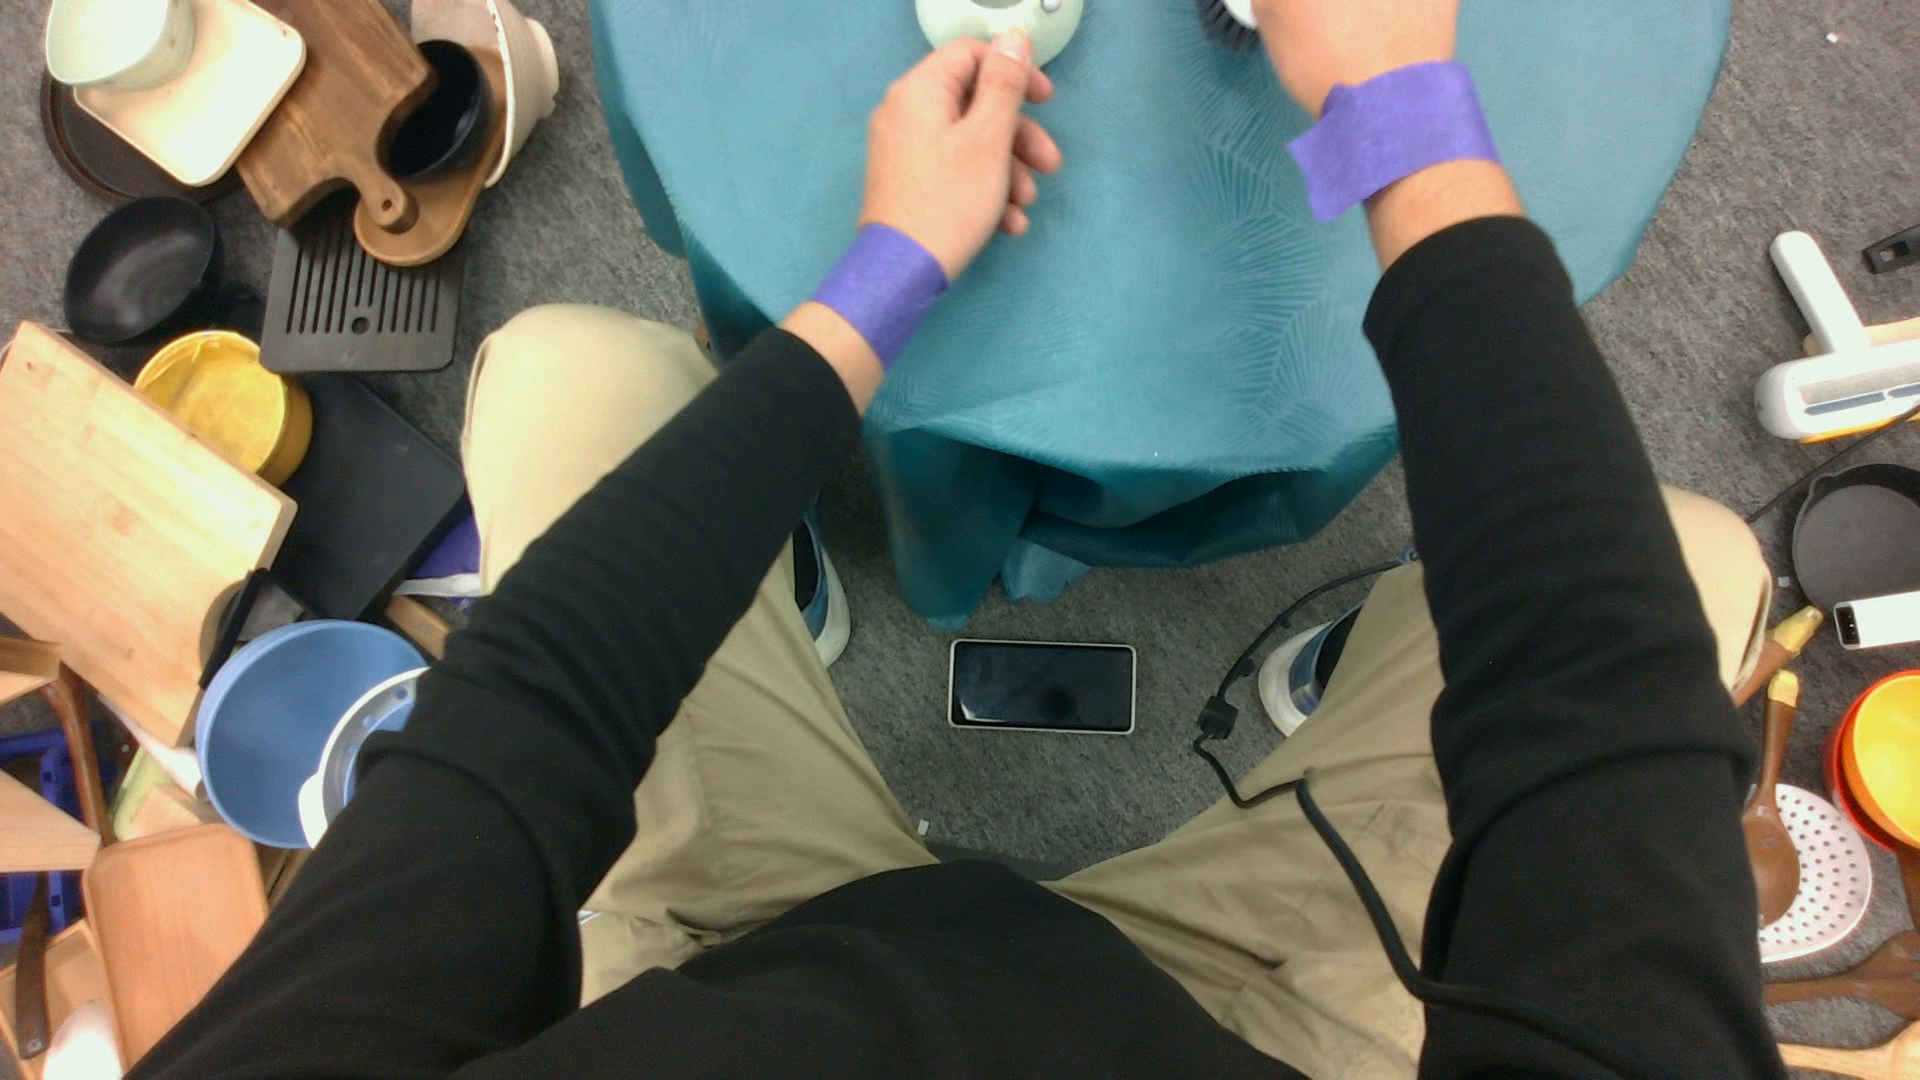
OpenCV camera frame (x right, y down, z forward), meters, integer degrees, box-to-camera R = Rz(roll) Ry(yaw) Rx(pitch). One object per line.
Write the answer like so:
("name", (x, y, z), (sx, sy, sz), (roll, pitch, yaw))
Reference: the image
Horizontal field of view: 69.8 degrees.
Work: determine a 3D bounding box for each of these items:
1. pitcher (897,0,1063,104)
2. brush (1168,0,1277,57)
("pitcher", (0.012, -0.262, 0.693), (0.086, 0.060, 0.108), (7, 67, -9))
("brush", (0.133, -0.297, 0.667), (0.050, 0.072, 0.099), (-1, 80, -10))
